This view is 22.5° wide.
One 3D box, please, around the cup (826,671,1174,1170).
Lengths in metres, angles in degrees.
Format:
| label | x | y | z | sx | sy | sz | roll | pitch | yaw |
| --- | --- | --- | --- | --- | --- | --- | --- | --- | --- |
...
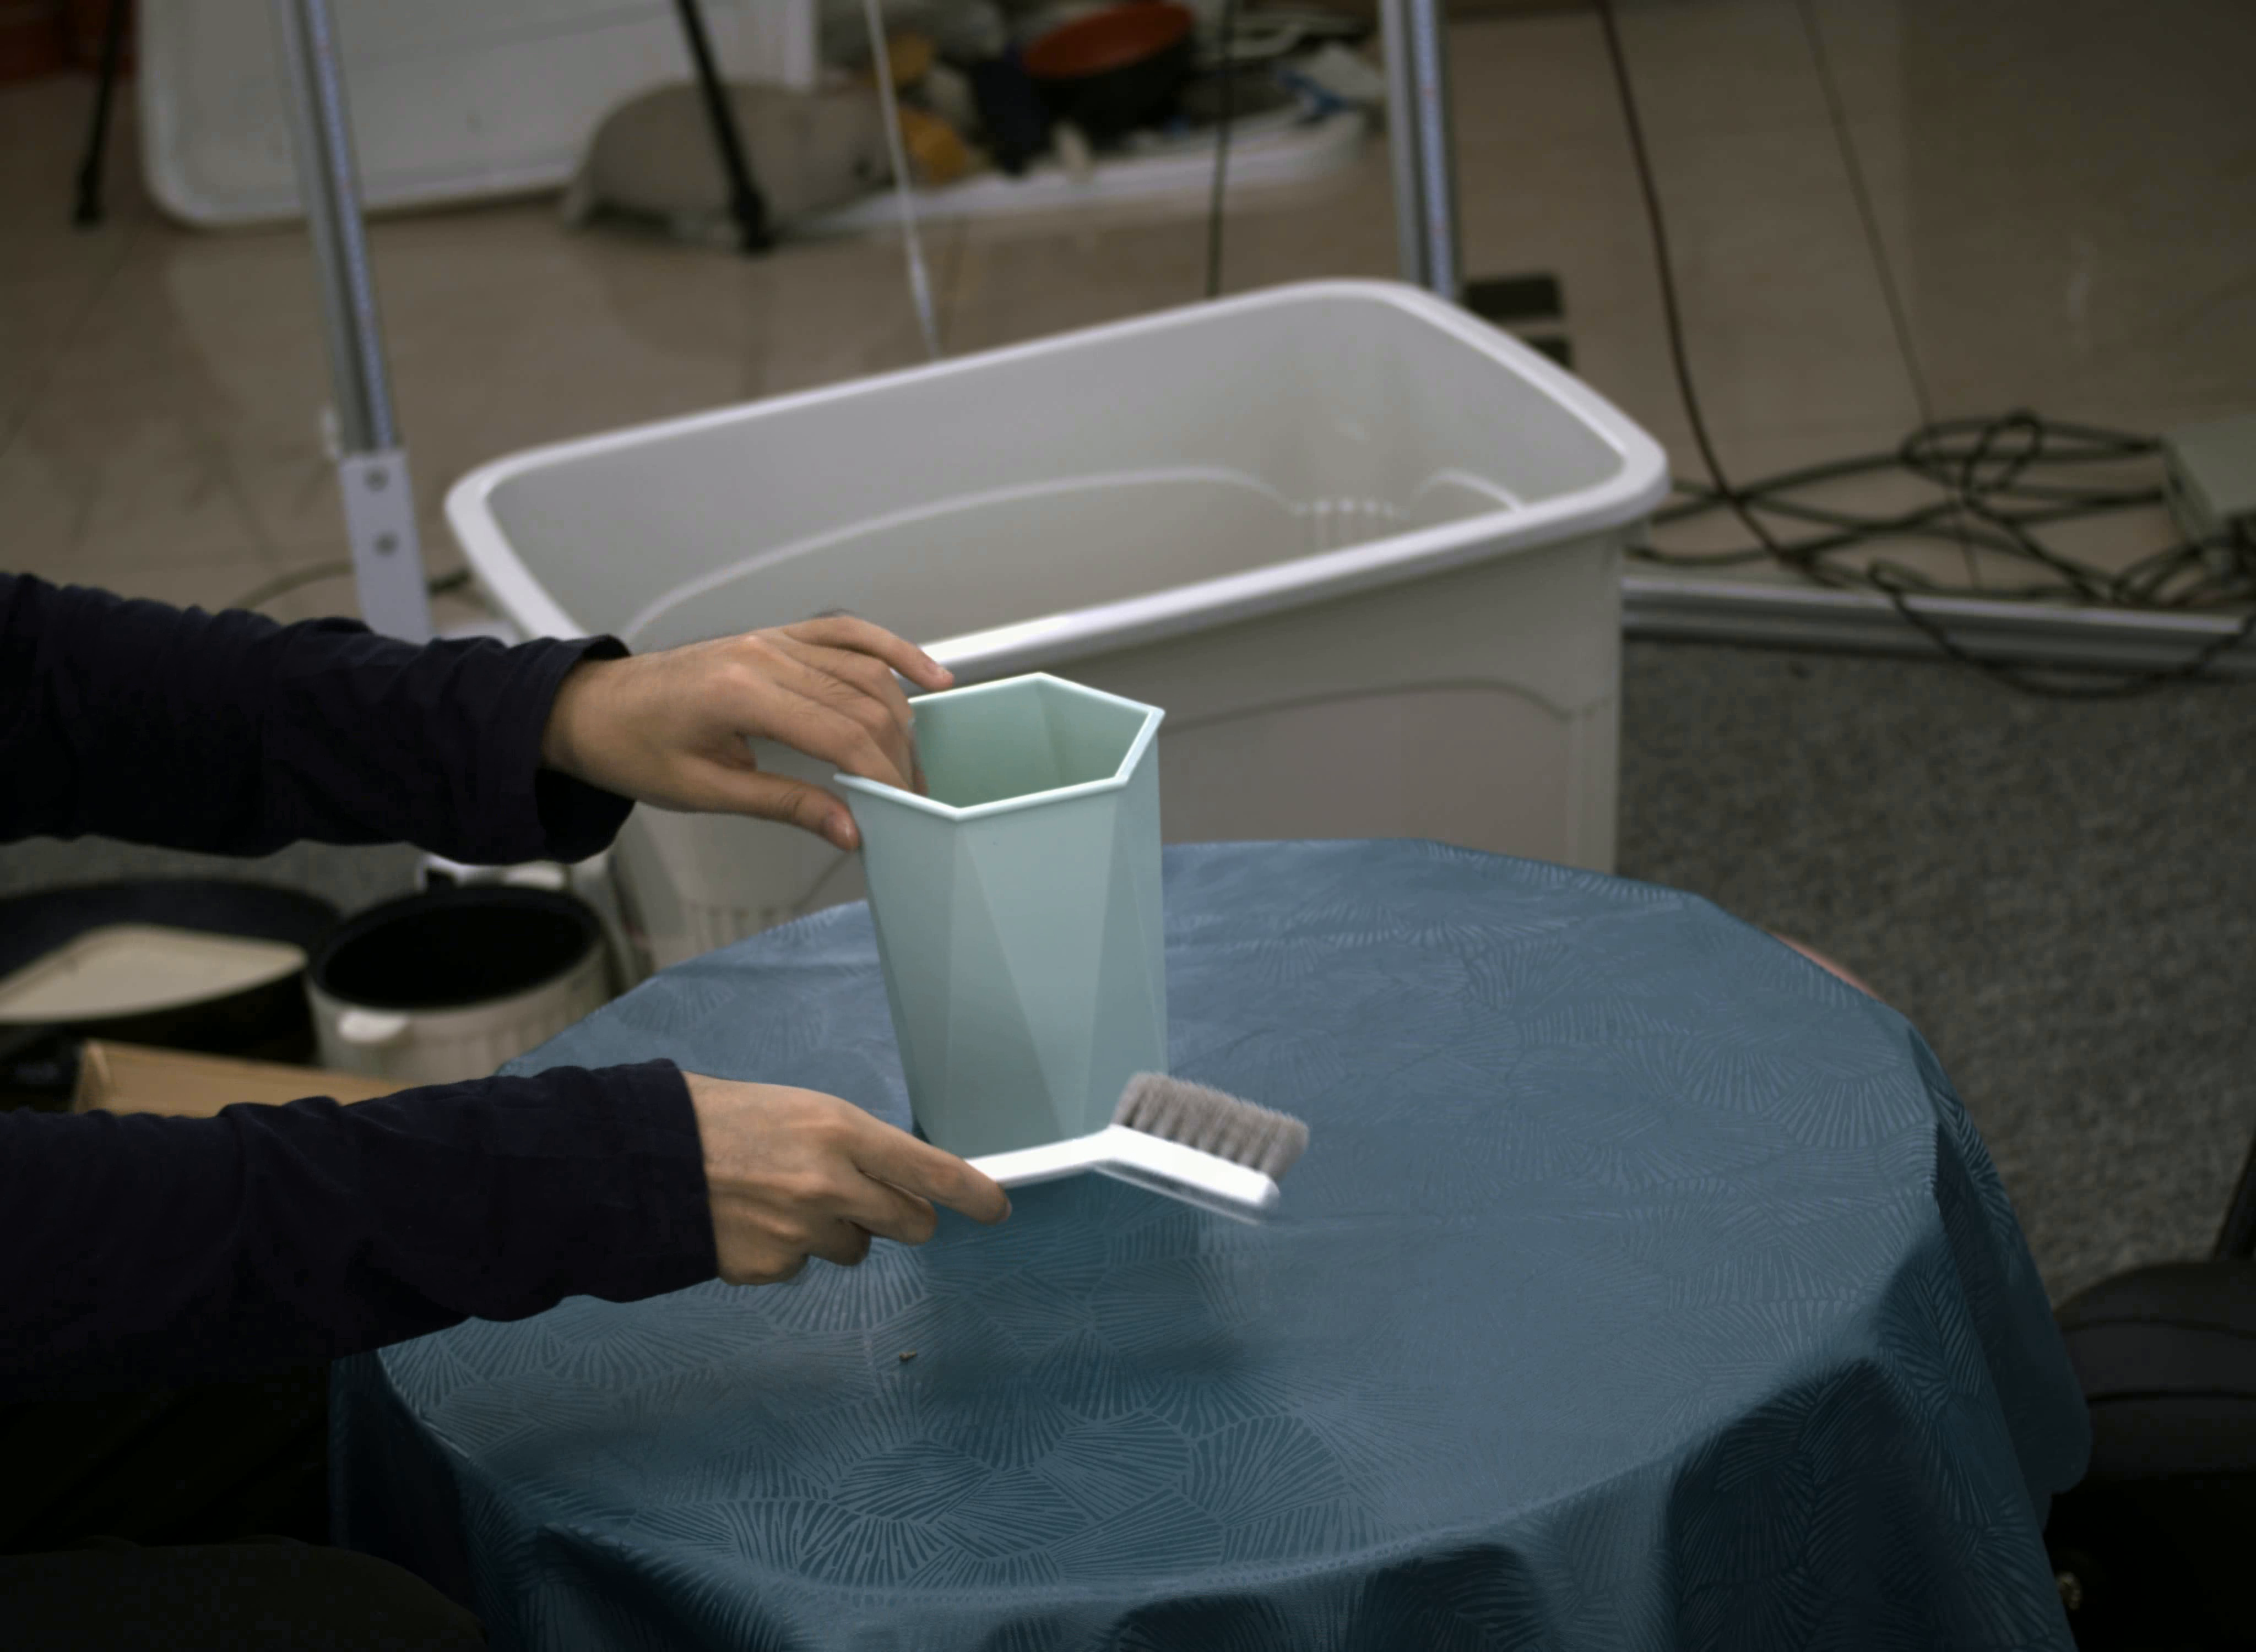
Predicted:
| label | x | y | z | sx | sy | sz | roll | pitch | yaw |
| --- | --- | --- | --- | --- | --- | --- | --- | --- | --- |
| cup | -0.042 | 0.039 | 2.176 | 0.130 | 0.165 | 0.114 | 16 | 34 | 39 |

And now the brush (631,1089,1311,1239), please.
| label | x | y | z | sx | sy | sz | roll | pitch | yaw |
| --- | --- | --- | --- | --- | --- | --- | --- | --- | --- |
| brush | -0.056 | 0.116 | 2.034 | 0.243 | 0.050 | 0.034 | 3 | -7 | 4 |
